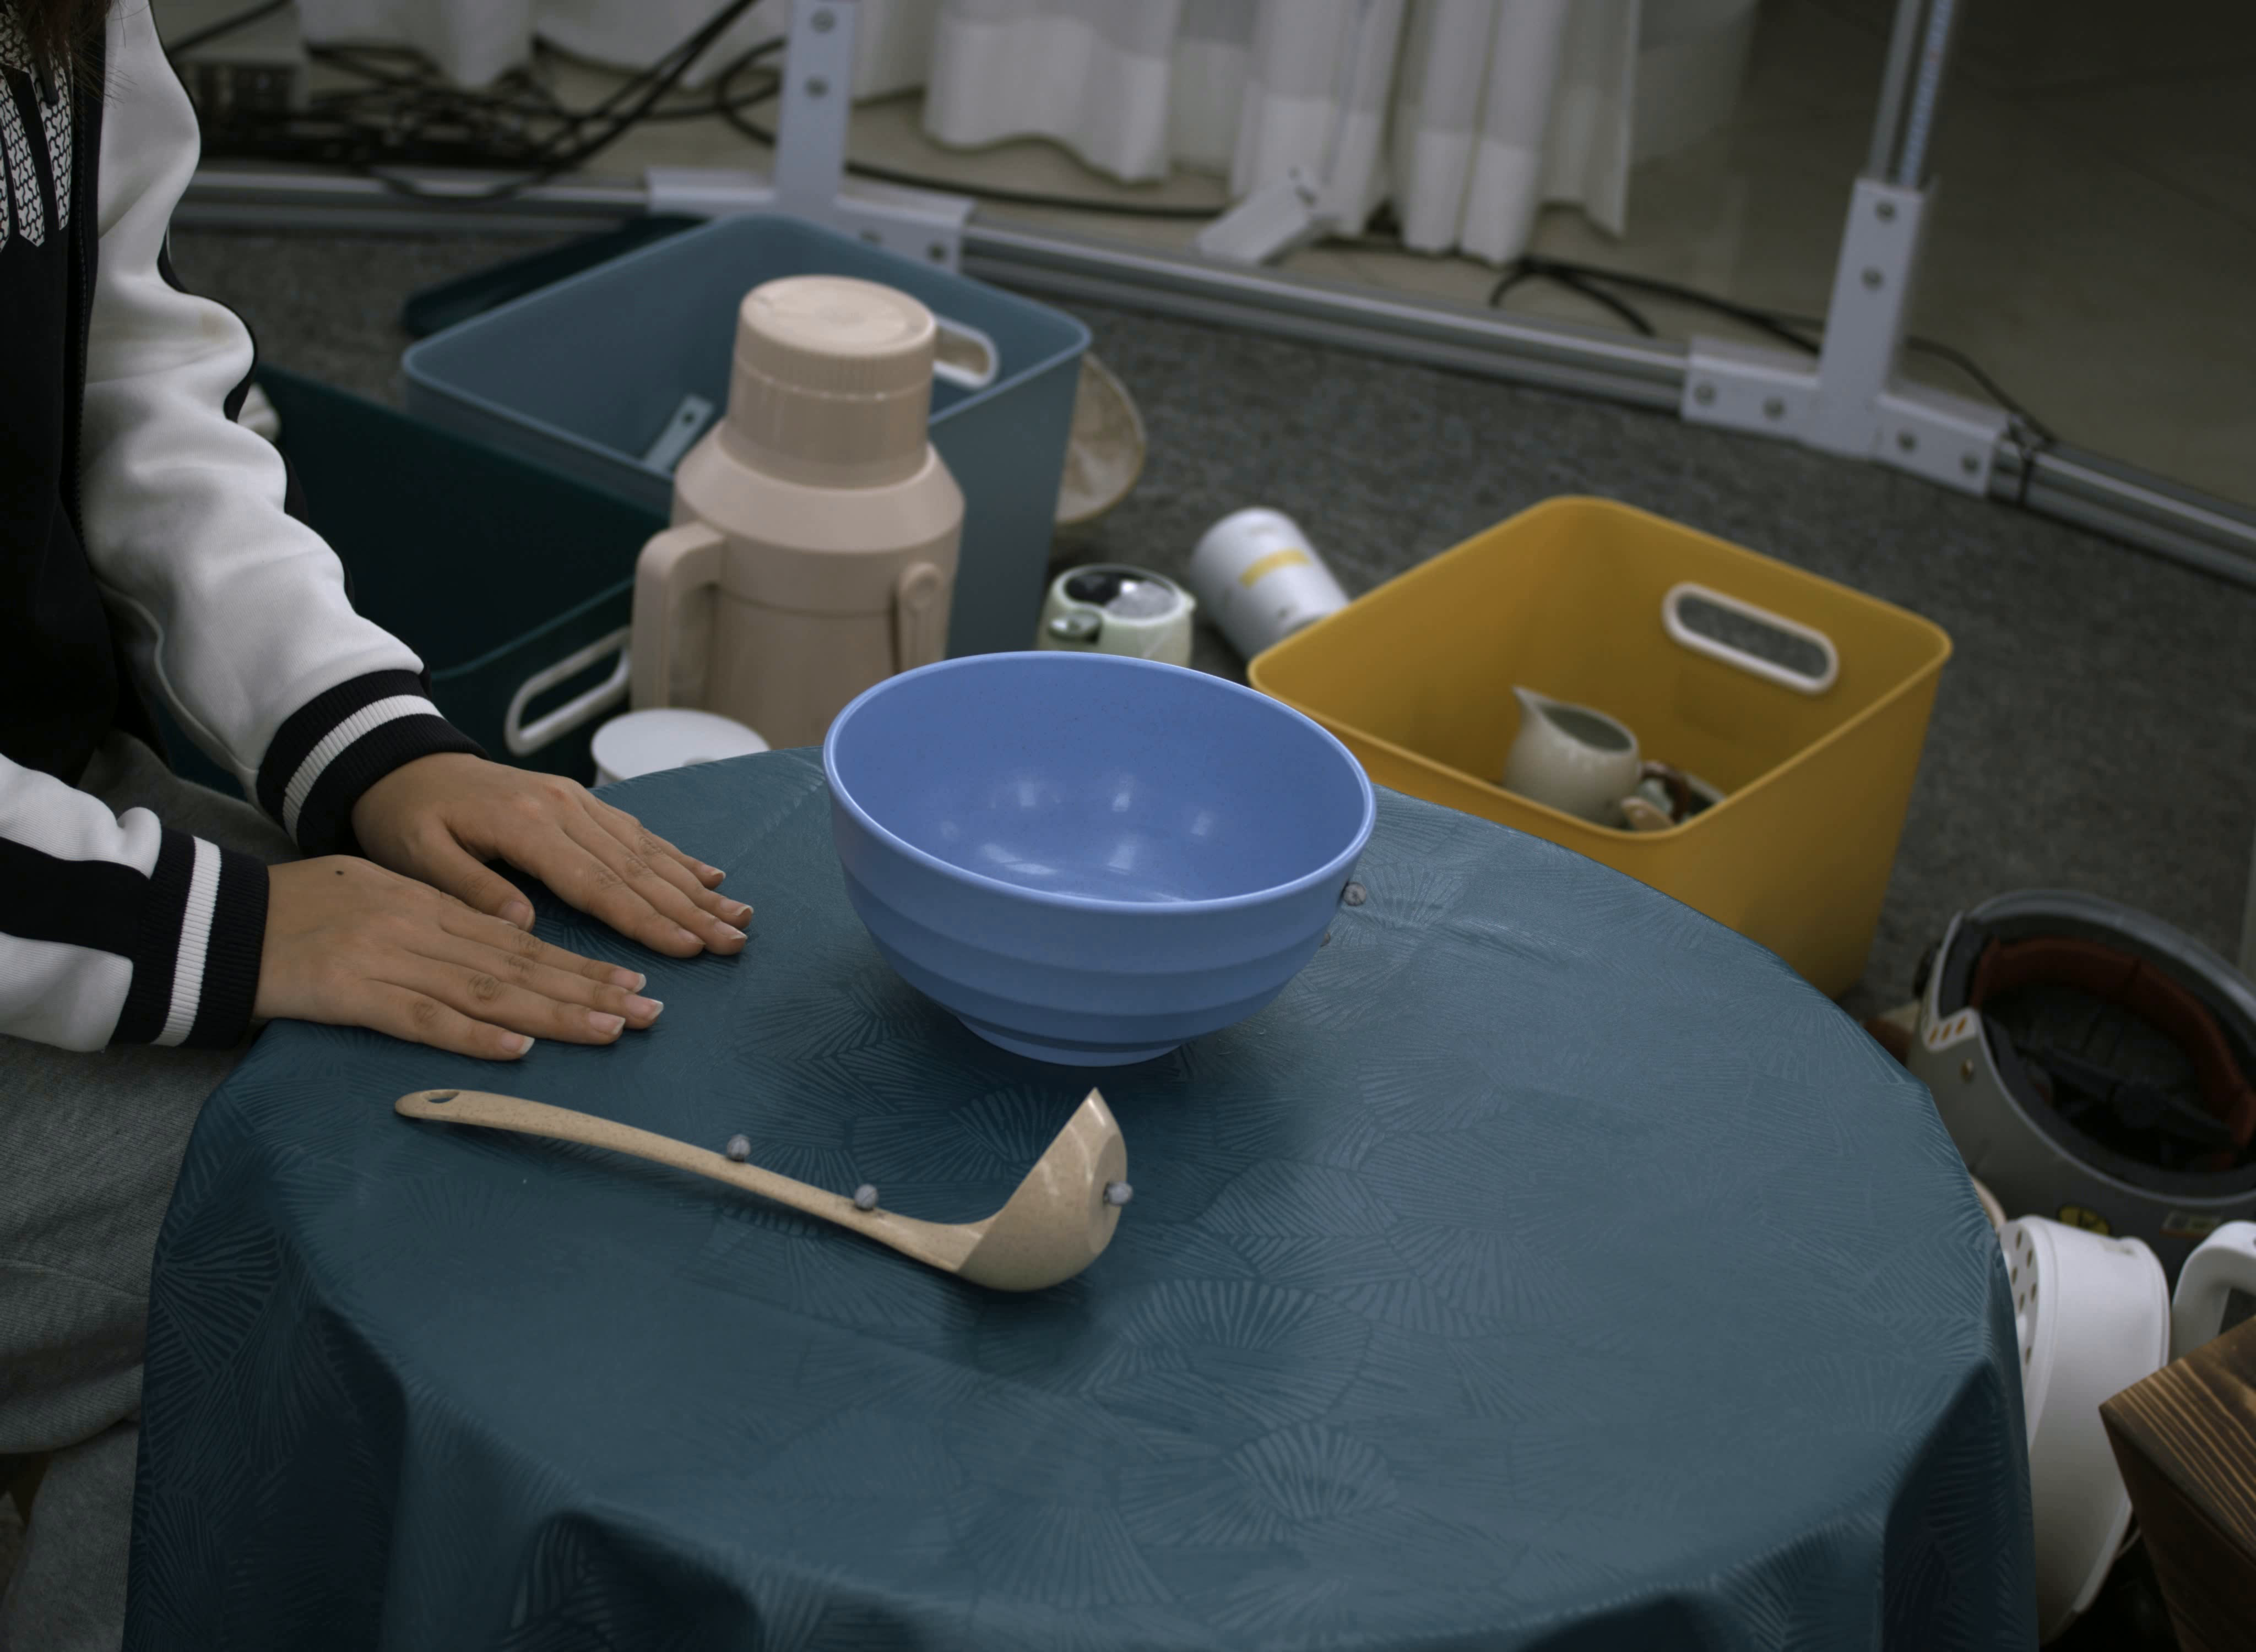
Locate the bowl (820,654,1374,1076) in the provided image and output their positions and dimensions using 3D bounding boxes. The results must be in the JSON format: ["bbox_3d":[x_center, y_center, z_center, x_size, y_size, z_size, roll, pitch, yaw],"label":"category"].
[{"bbox_3d":[-0.015,0.025,1.895,0.196,0.095,0.198,4,28,-3],"label":"bowl"}]

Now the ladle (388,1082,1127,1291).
[{"bbox_3d":[-0.125,0.094,1.752,0.255,0.072,0.072,13,27,13],"label":"ladle"}]
